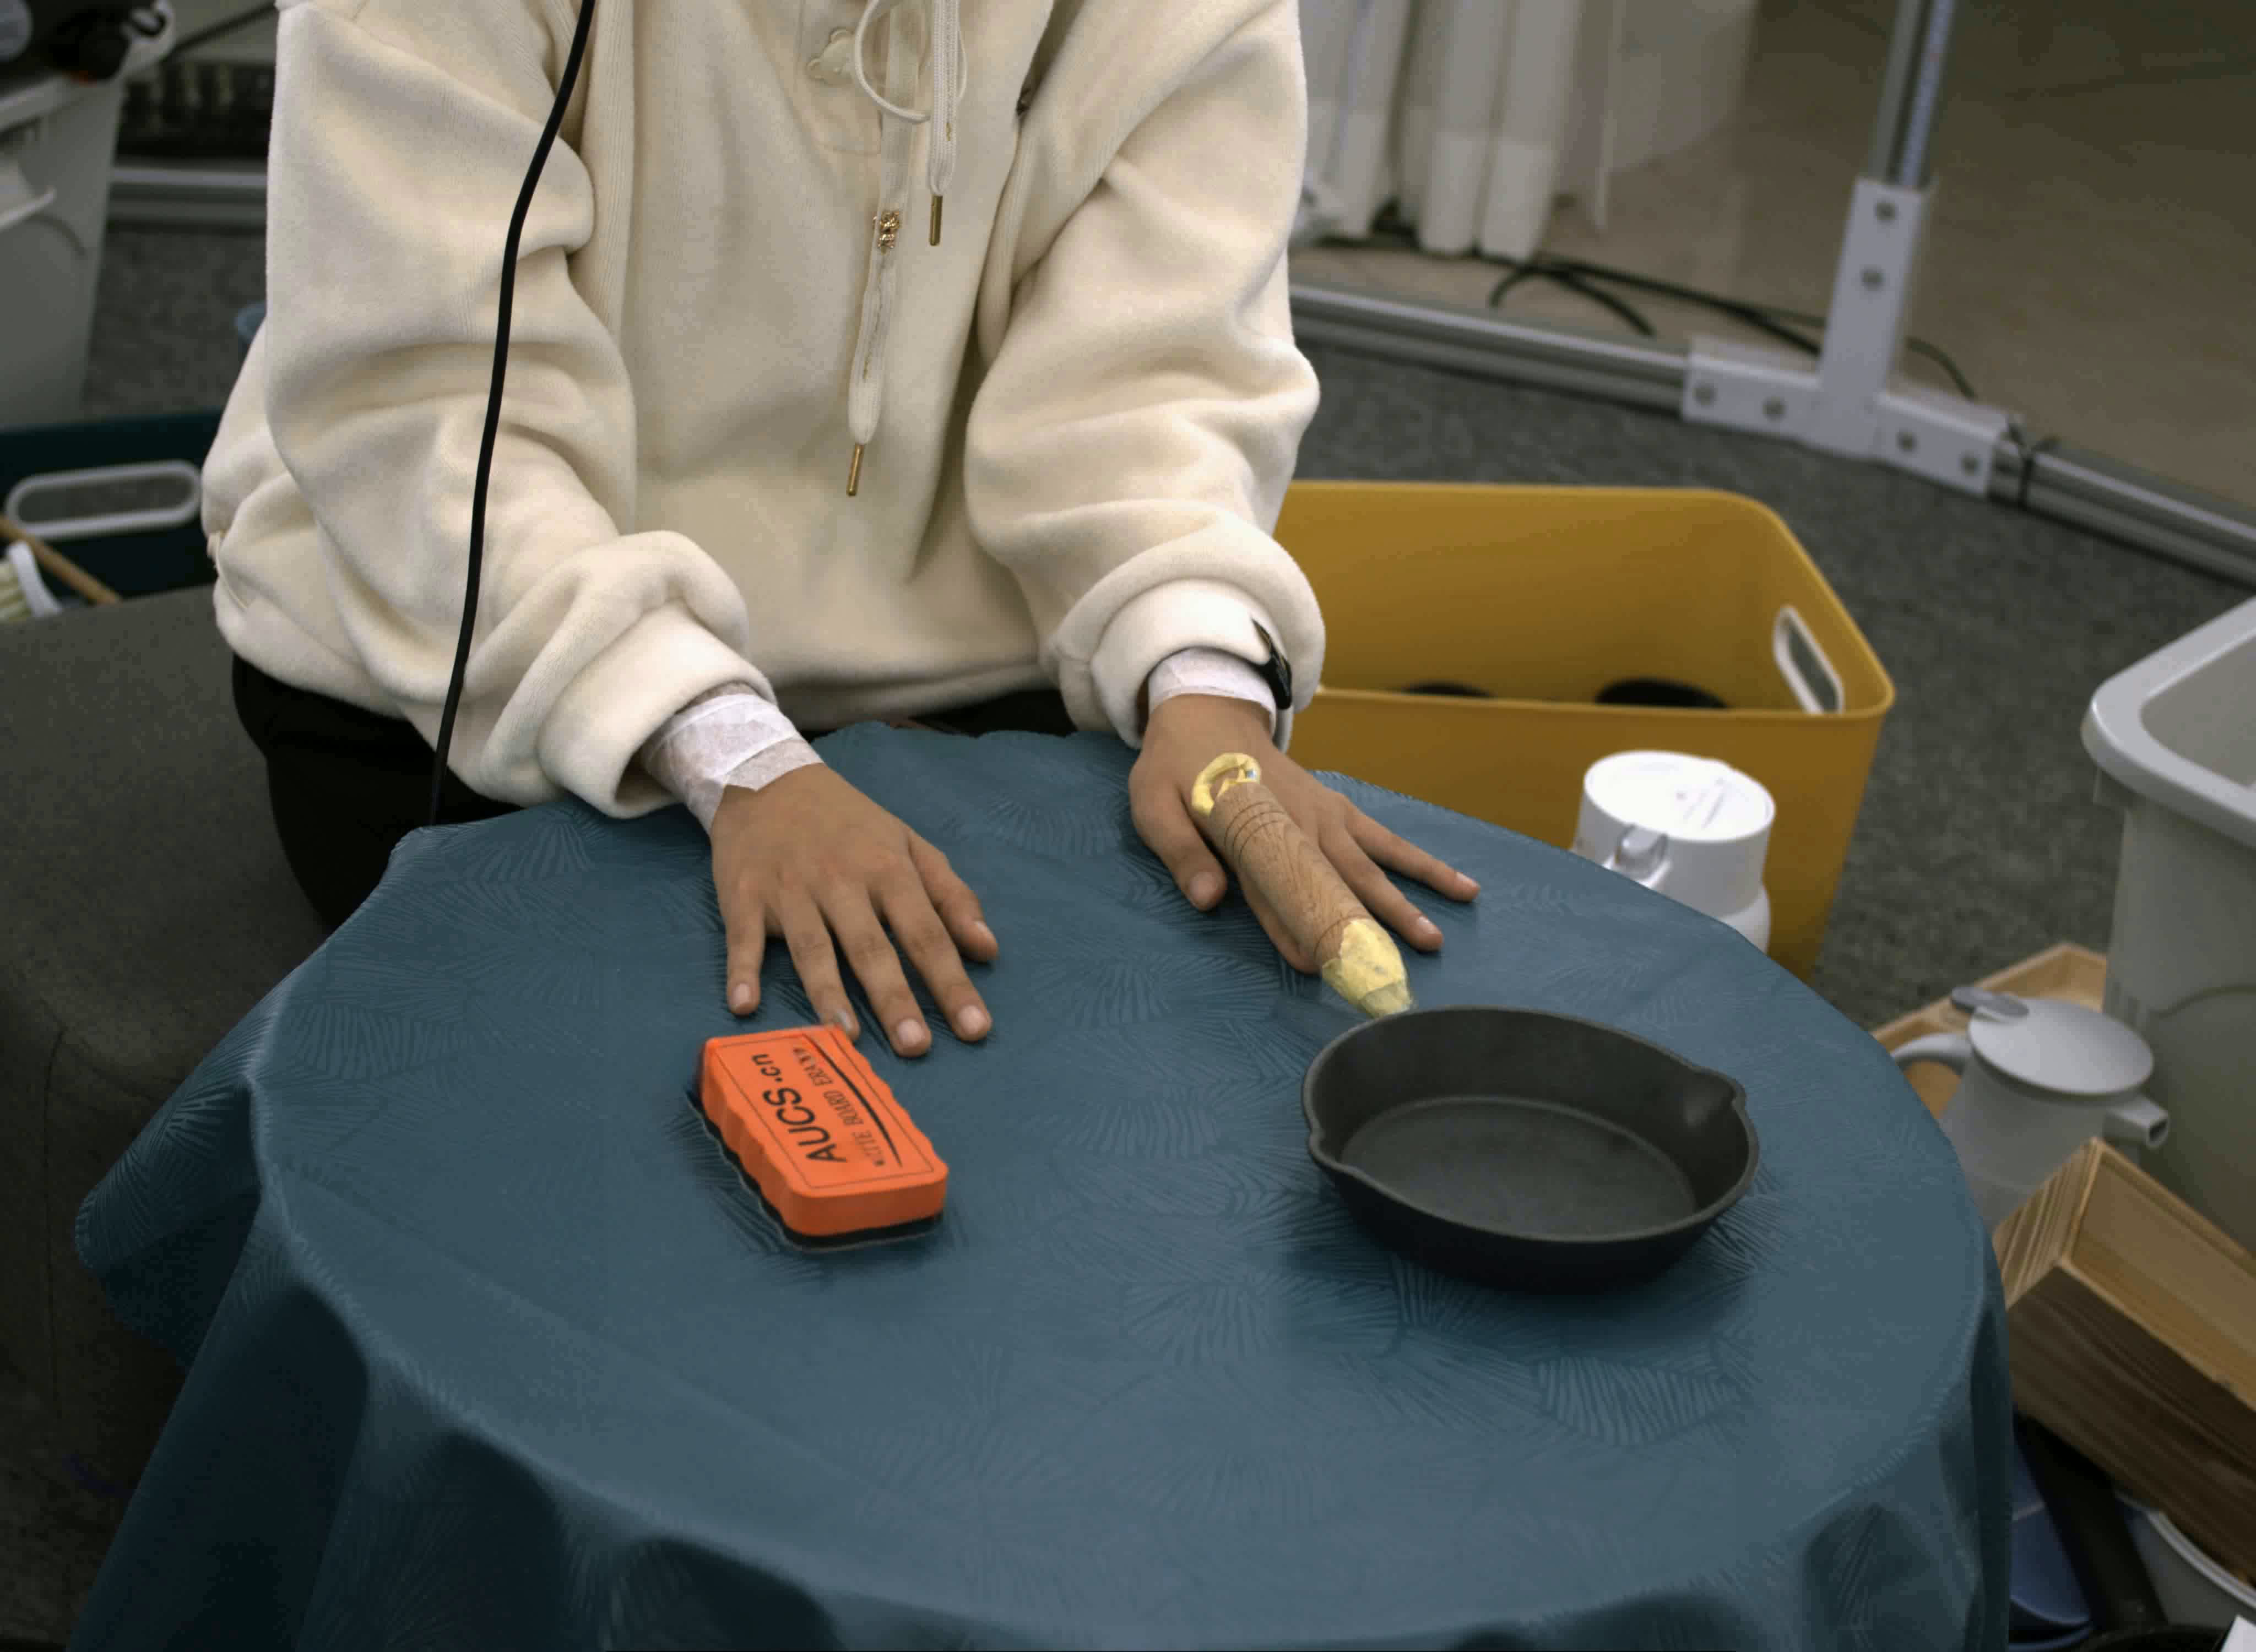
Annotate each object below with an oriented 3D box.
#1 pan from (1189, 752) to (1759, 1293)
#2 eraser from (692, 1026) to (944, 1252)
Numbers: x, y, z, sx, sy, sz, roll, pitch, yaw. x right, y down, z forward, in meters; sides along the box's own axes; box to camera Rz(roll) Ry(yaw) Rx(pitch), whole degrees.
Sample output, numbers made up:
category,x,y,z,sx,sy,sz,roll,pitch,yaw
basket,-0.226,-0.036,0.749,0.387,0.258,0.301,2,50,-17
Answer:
category,x,y,z,sx,sy,sz,roll,pitch,yaw
pan,0.100,0.067,1.880,0.168,0.049,0.327,-7,31,-24
eraser,-0.105,0.104,1.790,0.058,0.023,0.109,-5,29,-23
